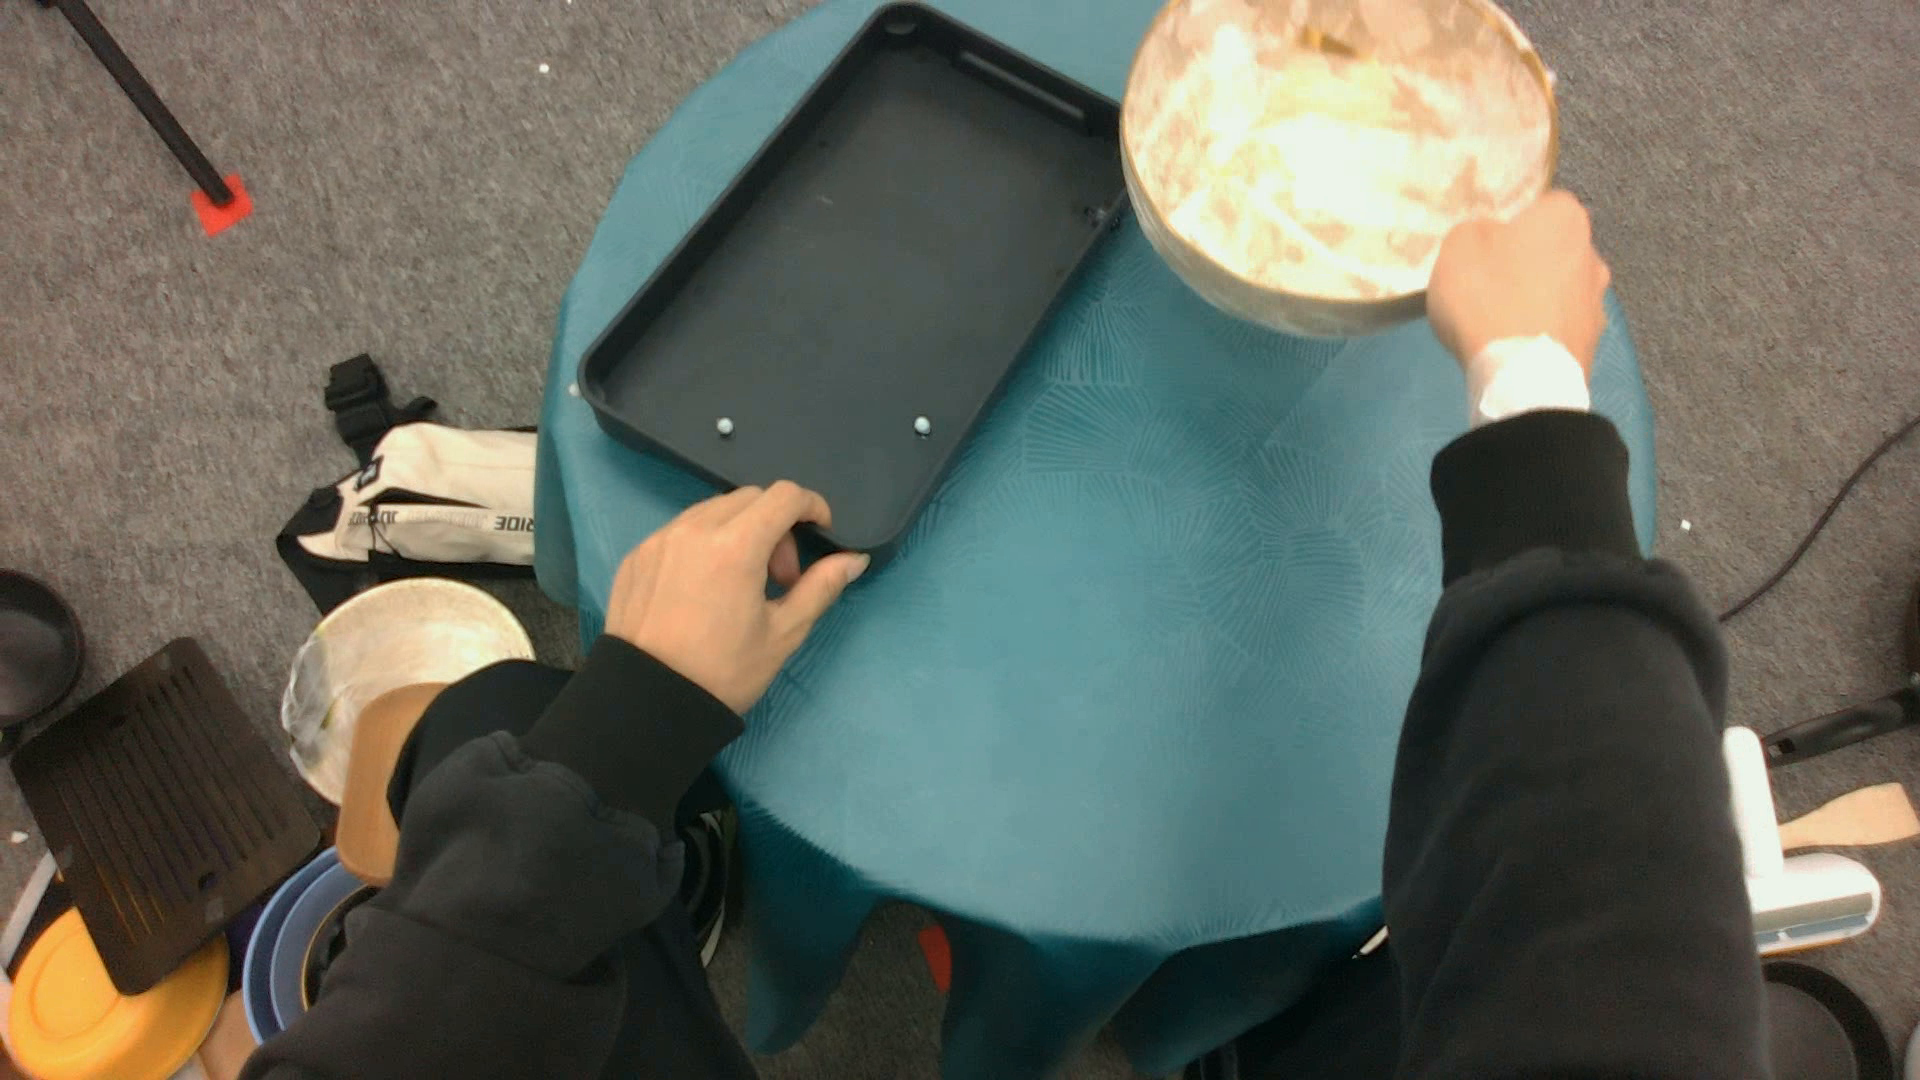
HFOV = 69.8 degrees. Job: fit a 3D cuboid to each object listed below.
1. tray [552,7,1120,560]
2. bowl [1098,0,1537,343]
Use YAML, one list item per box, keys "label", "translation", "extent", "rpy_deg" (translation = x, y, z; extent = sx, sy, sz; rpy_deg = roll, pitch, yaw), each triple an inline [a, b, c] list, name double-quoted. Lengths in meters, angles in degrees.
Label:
- label: "tray"
  translation: [-0.052, -0.150, 0.741]
  extent: [0.184, 0.037, 0.319]
  rpy_deg: [30, 64, 9]
- label: "bowl"
  translation: [0.167, -0.176, 0.693]
  extent: [0.215, 0.094, 0.215]
  rpy_deg: [1, 67, -2]
